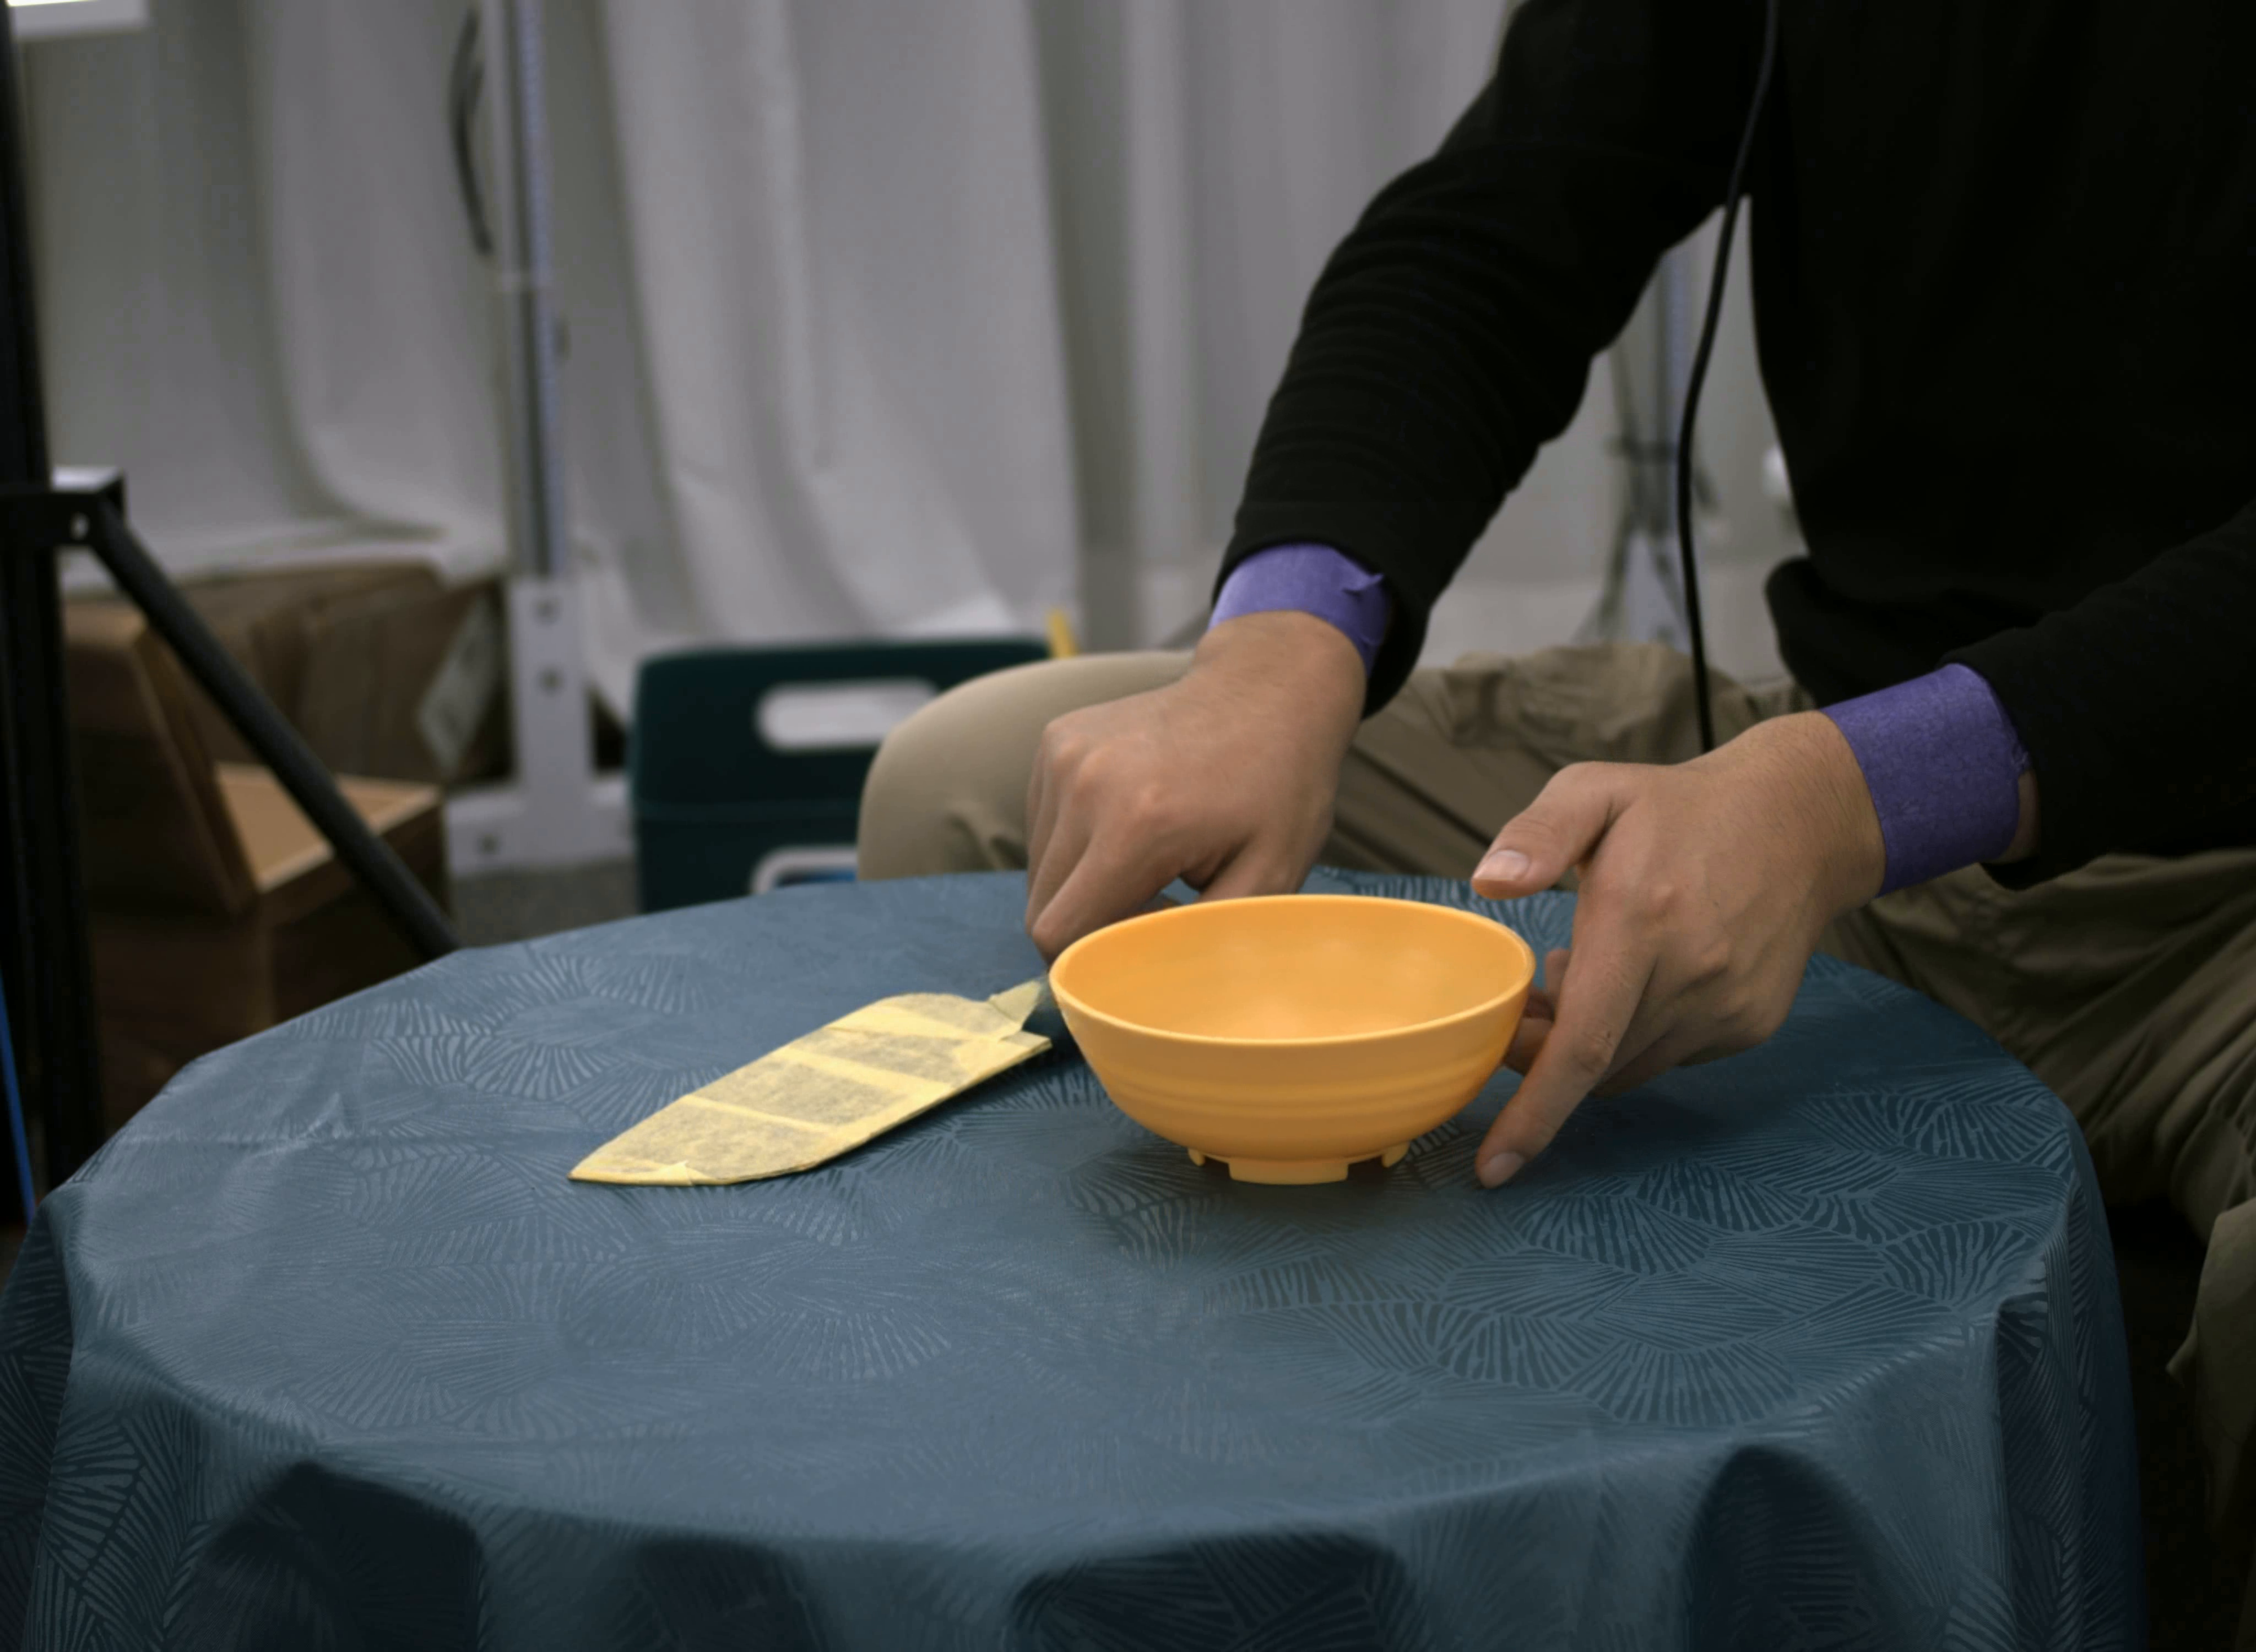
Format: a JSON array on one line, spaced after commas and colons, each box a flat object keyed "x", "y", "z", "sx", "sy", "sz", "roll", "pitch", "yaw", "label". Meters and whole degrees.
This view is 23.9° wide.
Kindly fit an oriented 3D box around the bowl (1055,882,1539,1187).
[{"x": 0.050, "y": 0.068, "z": 1.580, "sx": 0.144, "sy": 0.060, "sz": 0.146, "roll": -2, "pitch": 18, "yaw": -1, "label": "bowl"}]

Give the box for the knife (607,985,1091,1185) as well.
[{"x": -0.056, "y": 0.068, "z": 1.679, "sx": 0.083, "sy": 0.027, "sz": 0.283, "roll": 15, "pitch": 25, "yaw": 39, "label": "knife"}]
